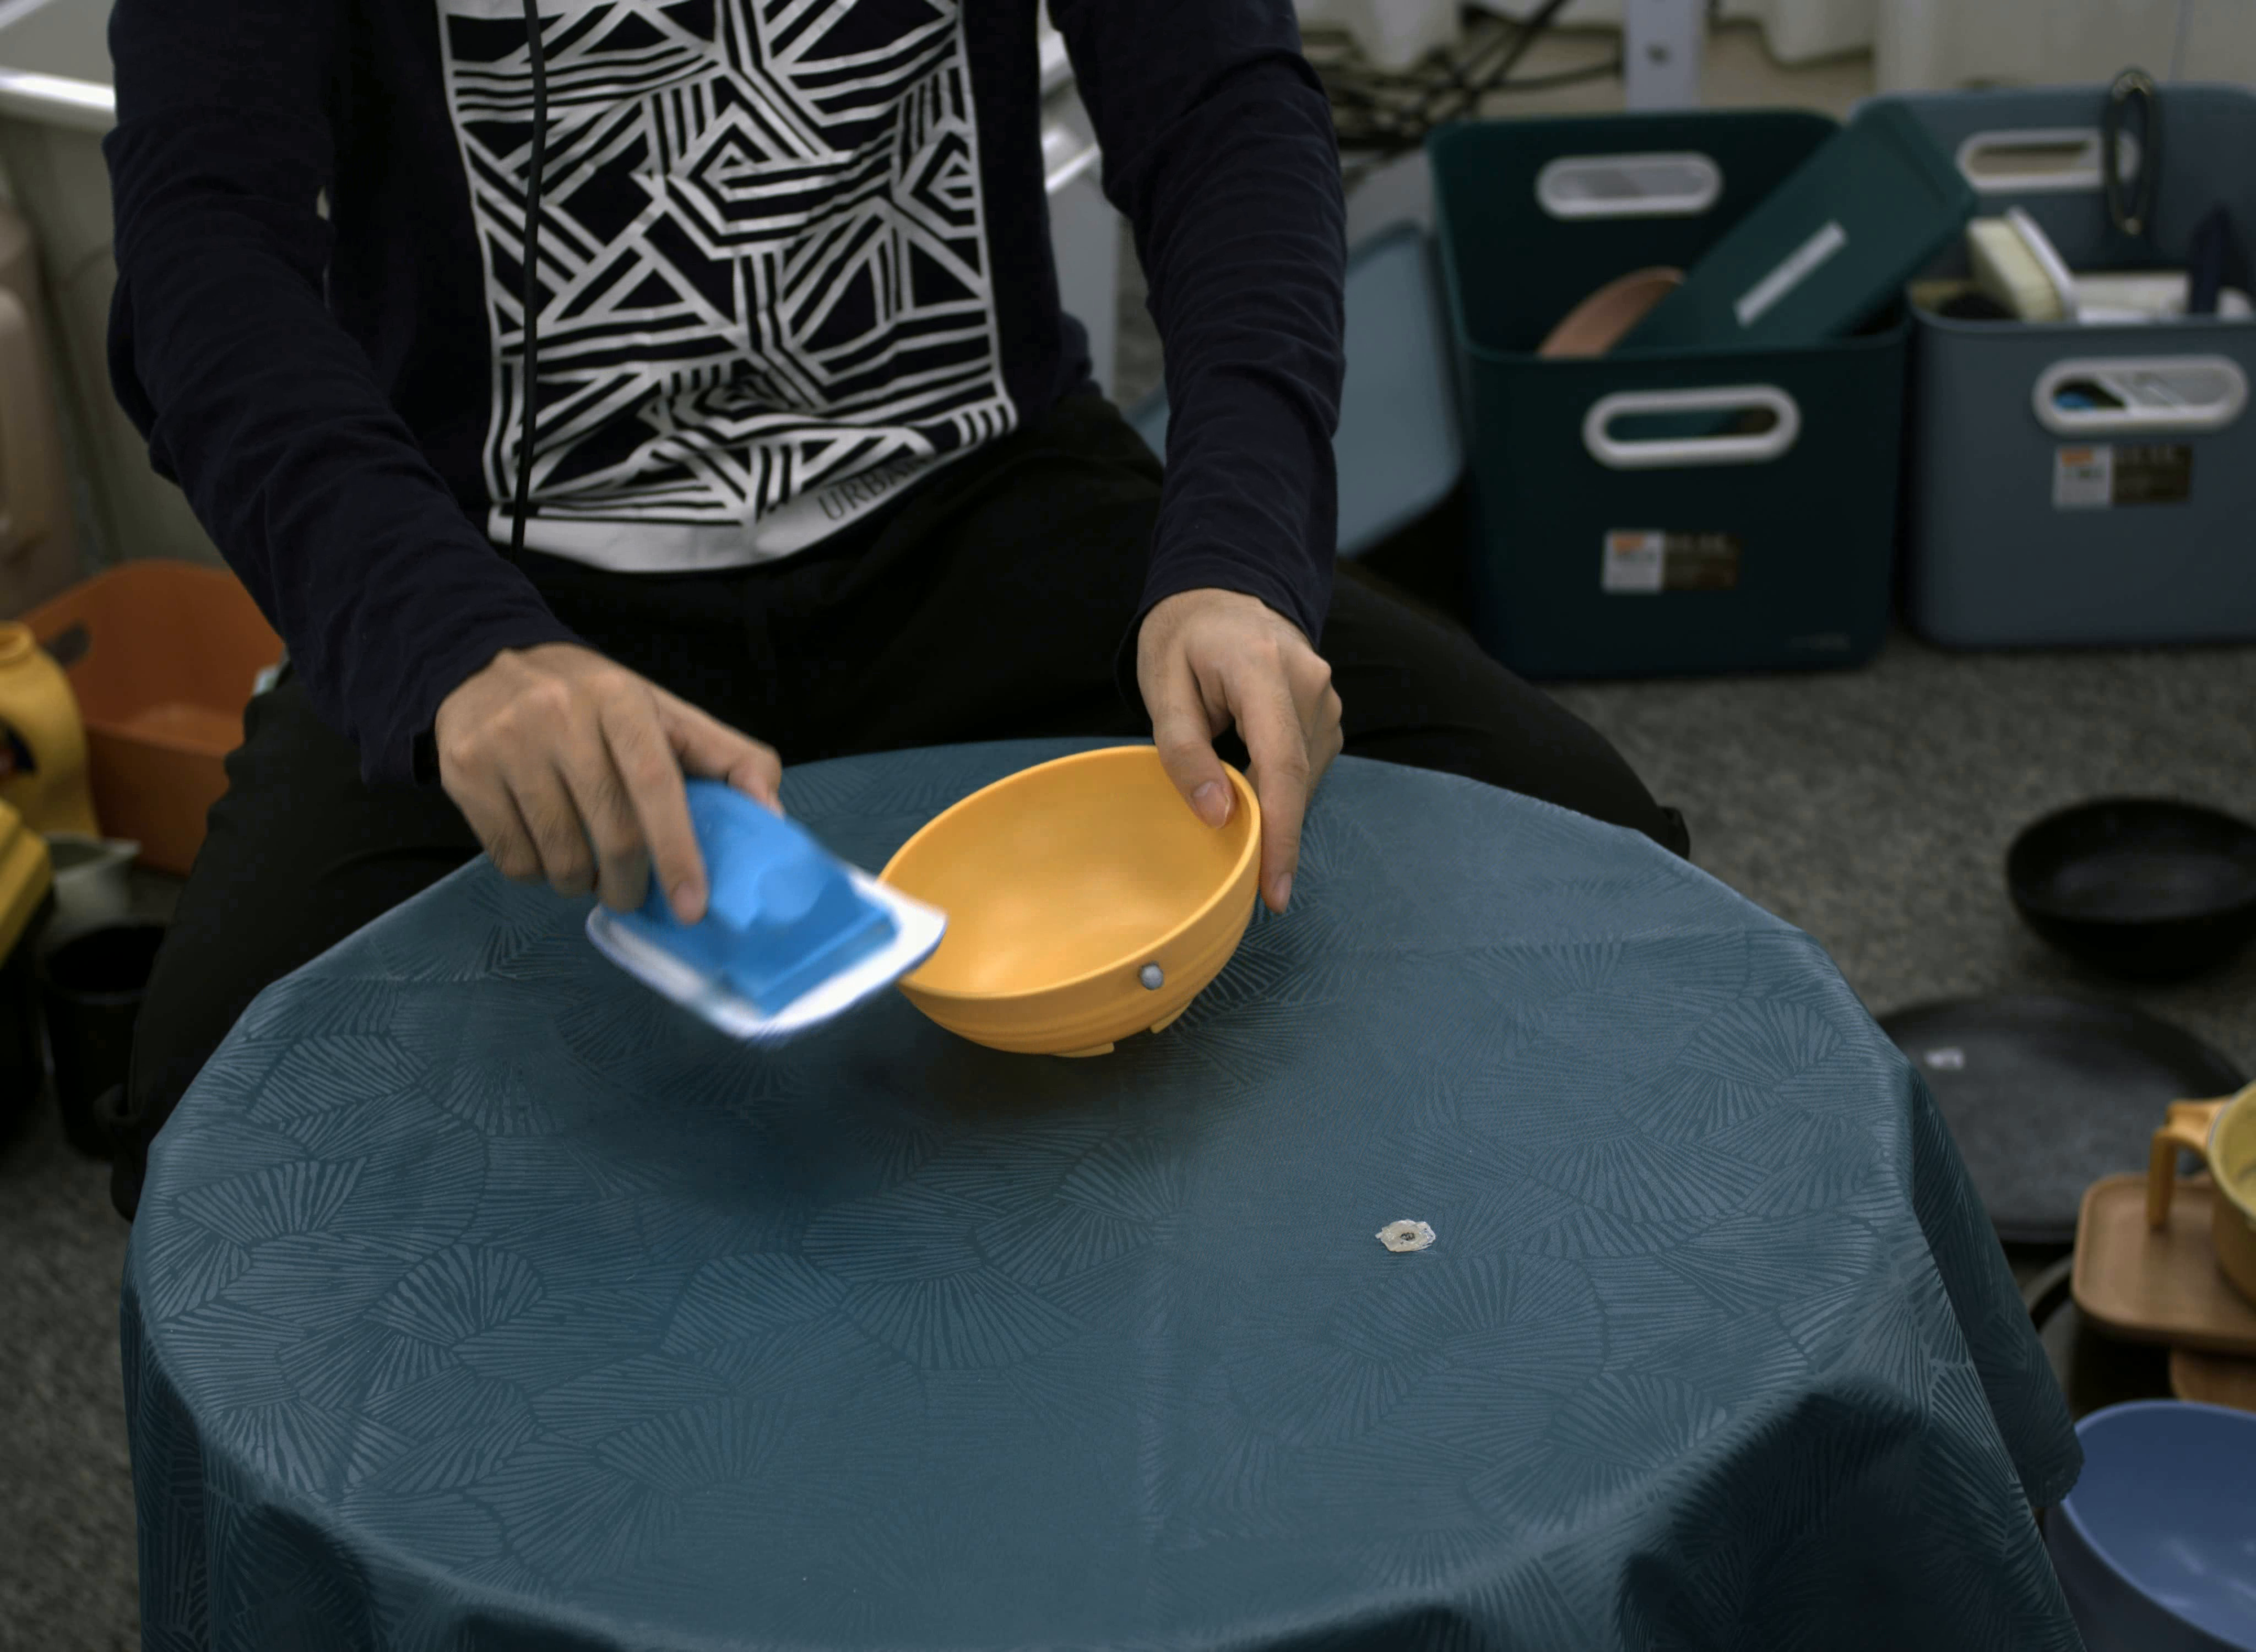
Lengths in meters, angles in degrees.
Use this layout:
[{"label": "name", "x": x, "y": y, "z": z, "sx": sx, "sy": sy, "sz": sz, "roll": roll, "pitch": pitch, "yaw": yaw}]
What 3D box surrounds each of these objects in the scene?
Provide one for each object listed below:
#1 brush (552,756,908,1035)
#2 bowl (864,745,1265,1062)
[{"label": "brush", "x": -0.137, "y": 0.020, "z": 1.878, "sx": 0.084, "sy": 0.055, "sz": 0.144, "roll": -26, "pitch": 31, "yaw": -20}, {"label": "bowl", "x": -0.016, "y": 0.038, "z": 1.943, "sx": 0.144, "sy": 0.059, "sz": 0.148, "roll": -11, "pitch": 33, "yaw": 8}]
